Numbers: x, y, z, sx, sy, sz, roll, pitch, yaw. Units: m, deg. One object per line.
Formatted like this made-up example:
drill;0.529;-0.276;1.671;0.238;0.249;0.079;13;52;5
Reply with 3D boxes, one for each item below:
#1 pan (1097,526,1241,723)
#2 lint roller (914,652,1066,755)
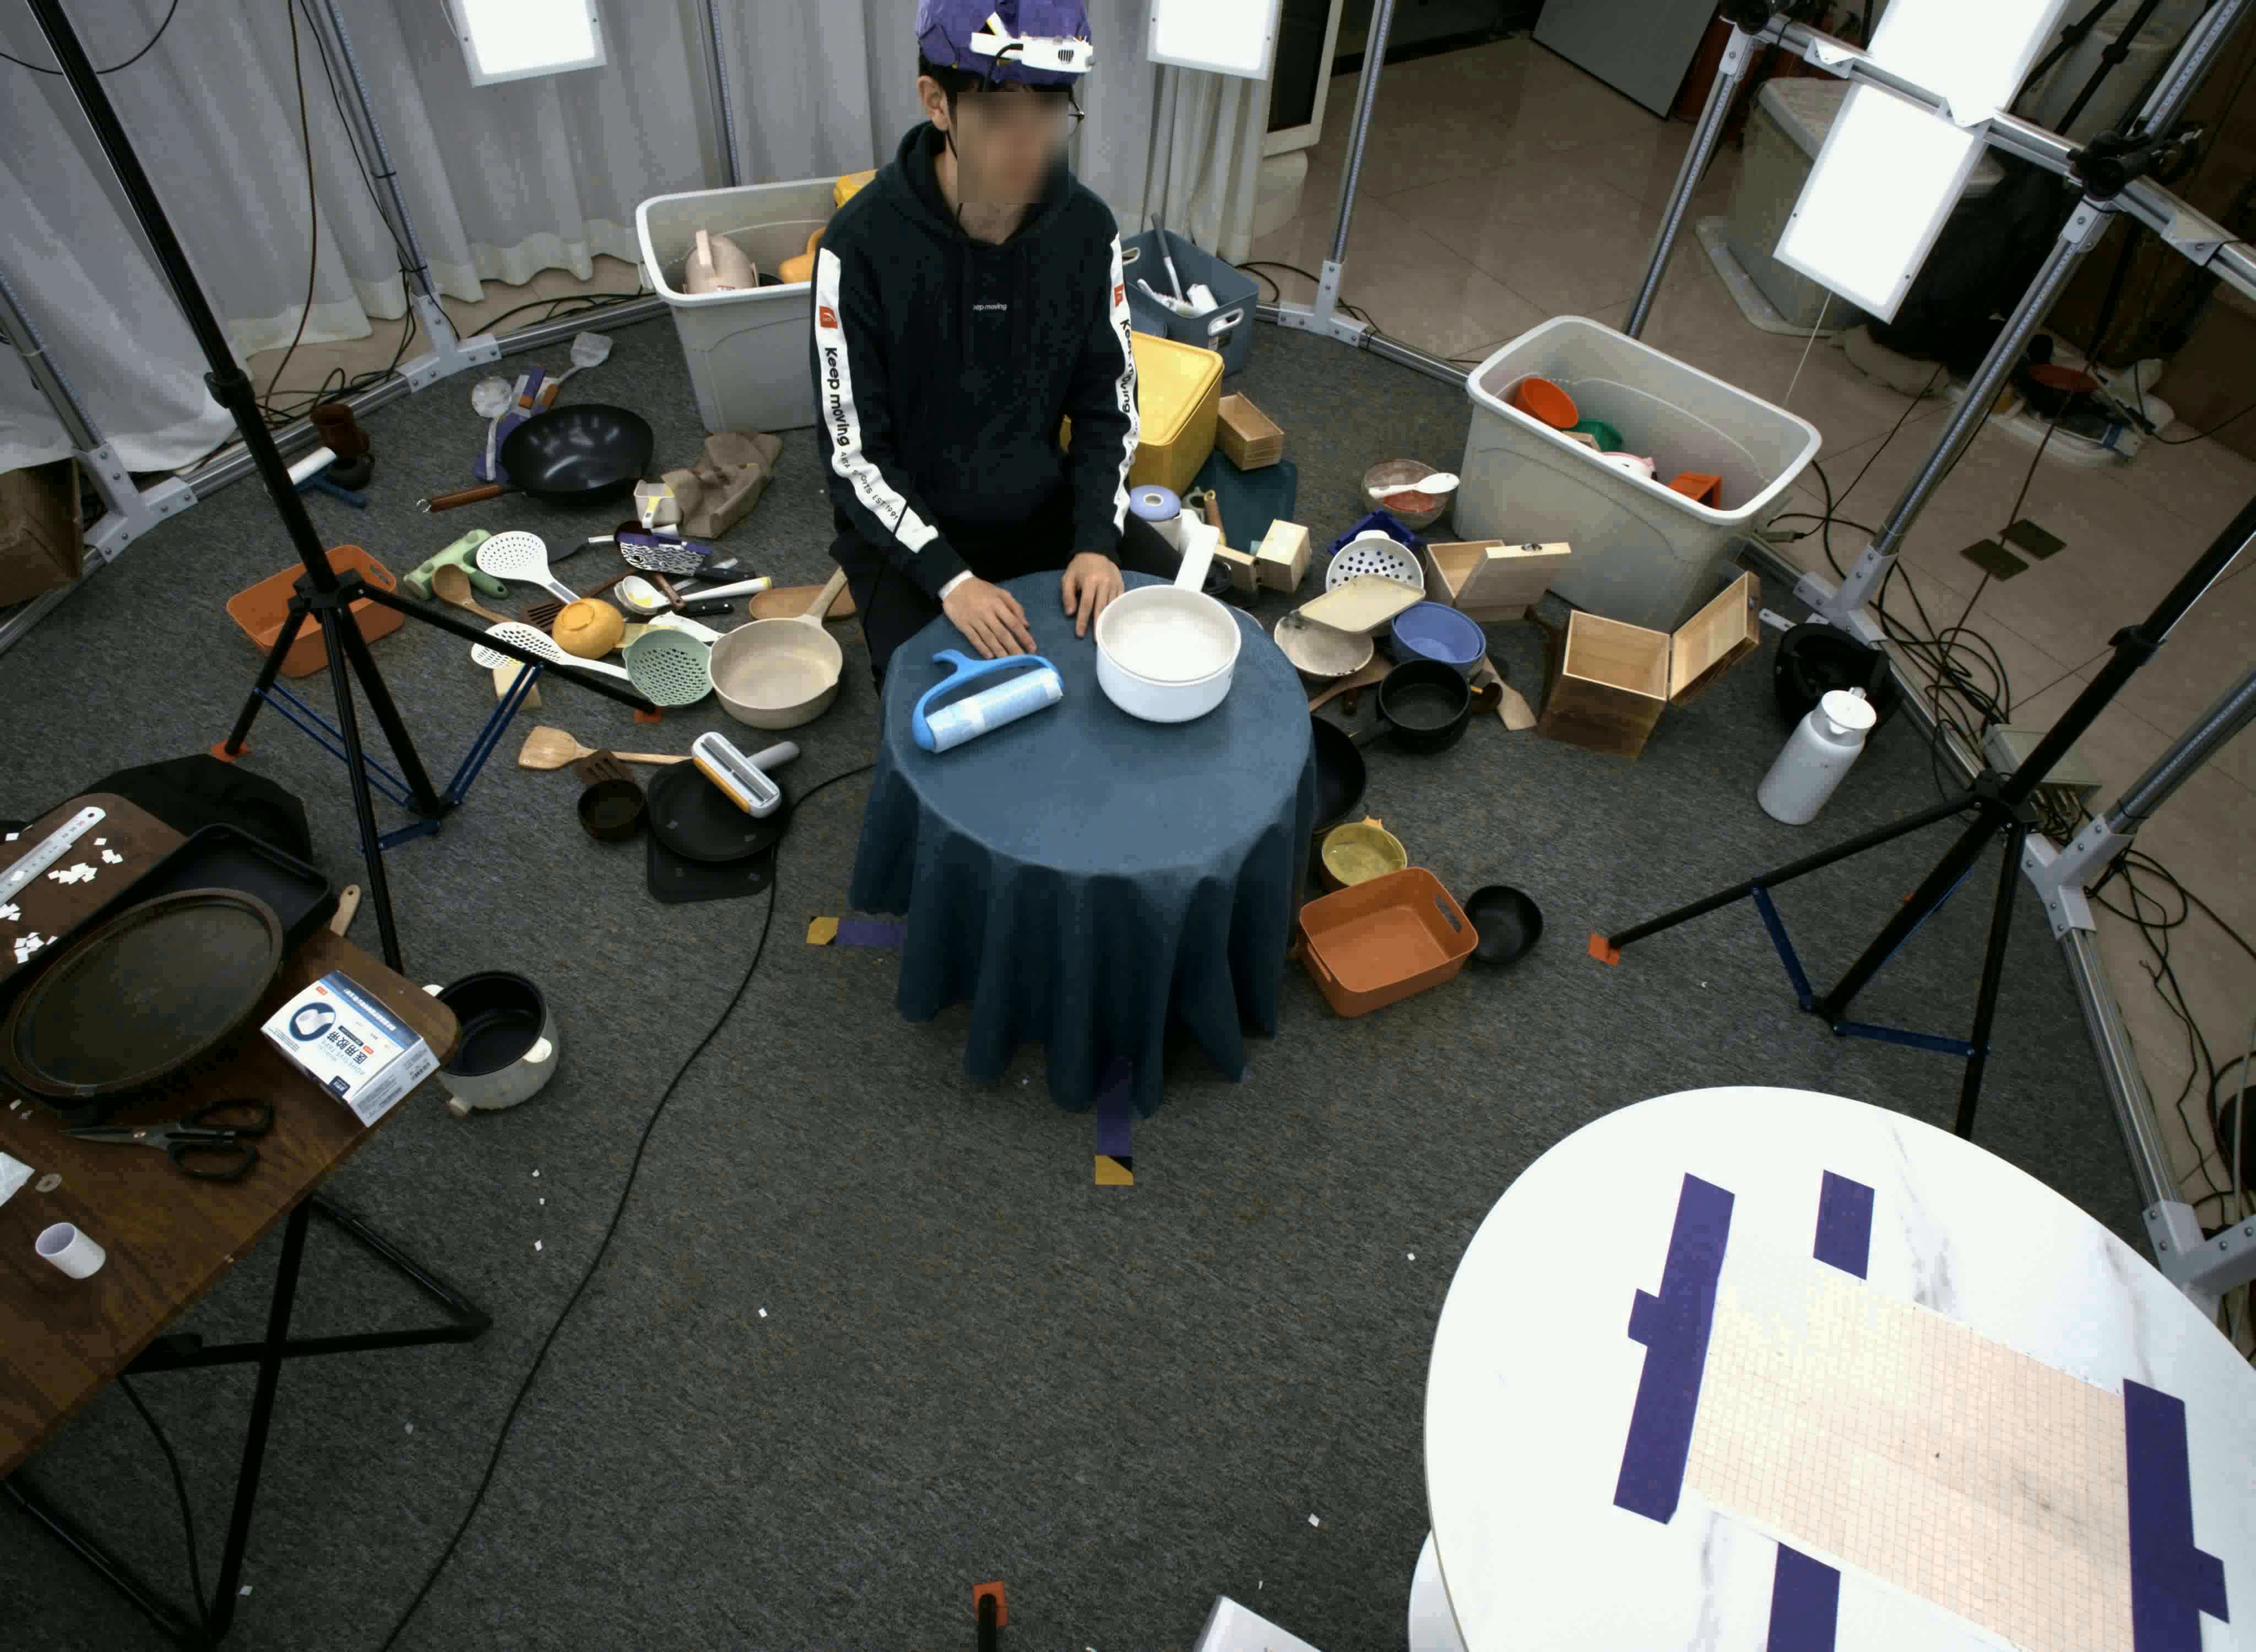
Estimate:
pan;0.074;-0.294;1.864;0.202;0.099;0.362;13;49;8
lint roller;-0.221;-0.198;1.789;0.230;0.066;0.183;-29;57;-23
